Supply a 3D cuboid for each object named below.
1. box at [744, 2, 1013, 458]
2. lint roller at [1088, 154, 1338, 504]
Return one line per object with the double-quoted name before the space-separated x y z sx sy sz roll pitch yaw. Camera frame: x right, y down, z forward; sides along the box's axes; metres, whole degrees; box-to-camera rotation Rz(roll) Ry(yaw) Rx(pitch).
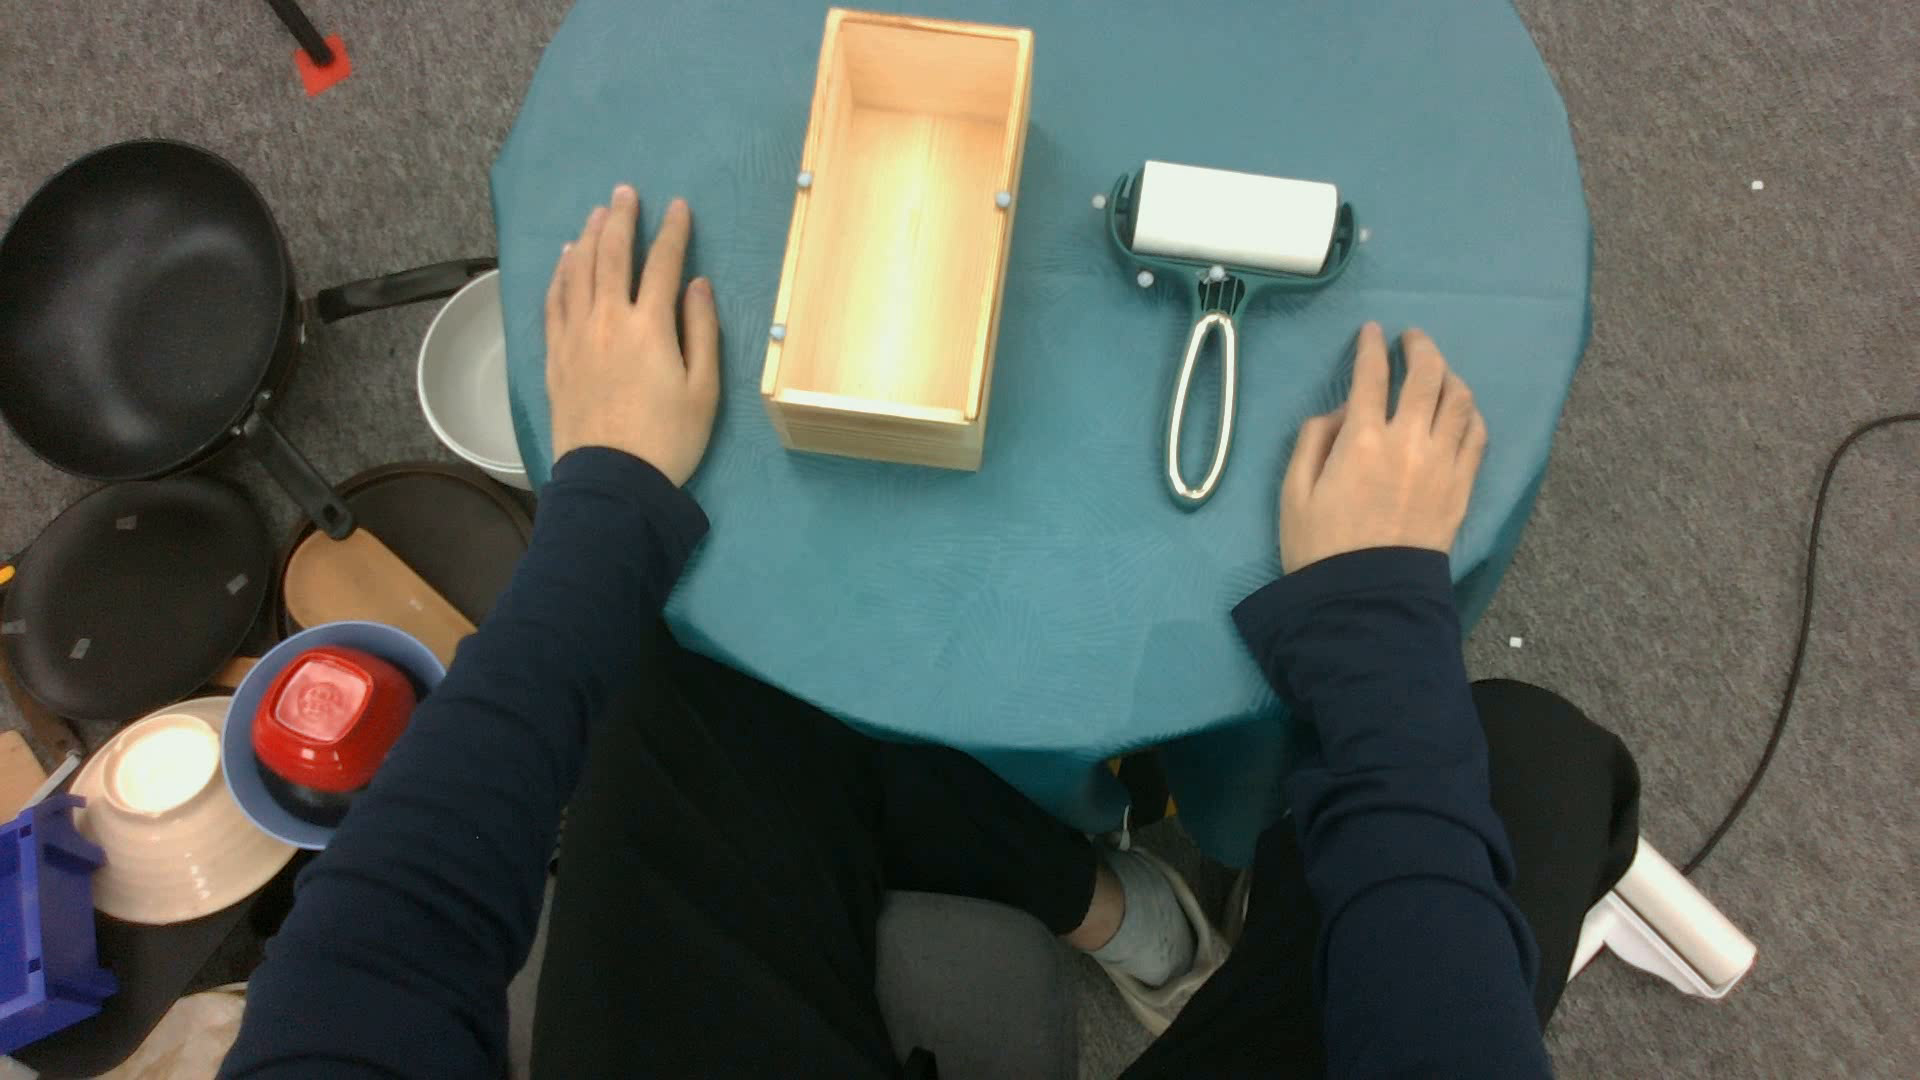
"box" -0.038 -0.159 0.715 0.107 0.080 0.212 7 76 1
"lint roller" 0.124 -0.111 0.724 0.134 0.048 0.180 8 79 2
